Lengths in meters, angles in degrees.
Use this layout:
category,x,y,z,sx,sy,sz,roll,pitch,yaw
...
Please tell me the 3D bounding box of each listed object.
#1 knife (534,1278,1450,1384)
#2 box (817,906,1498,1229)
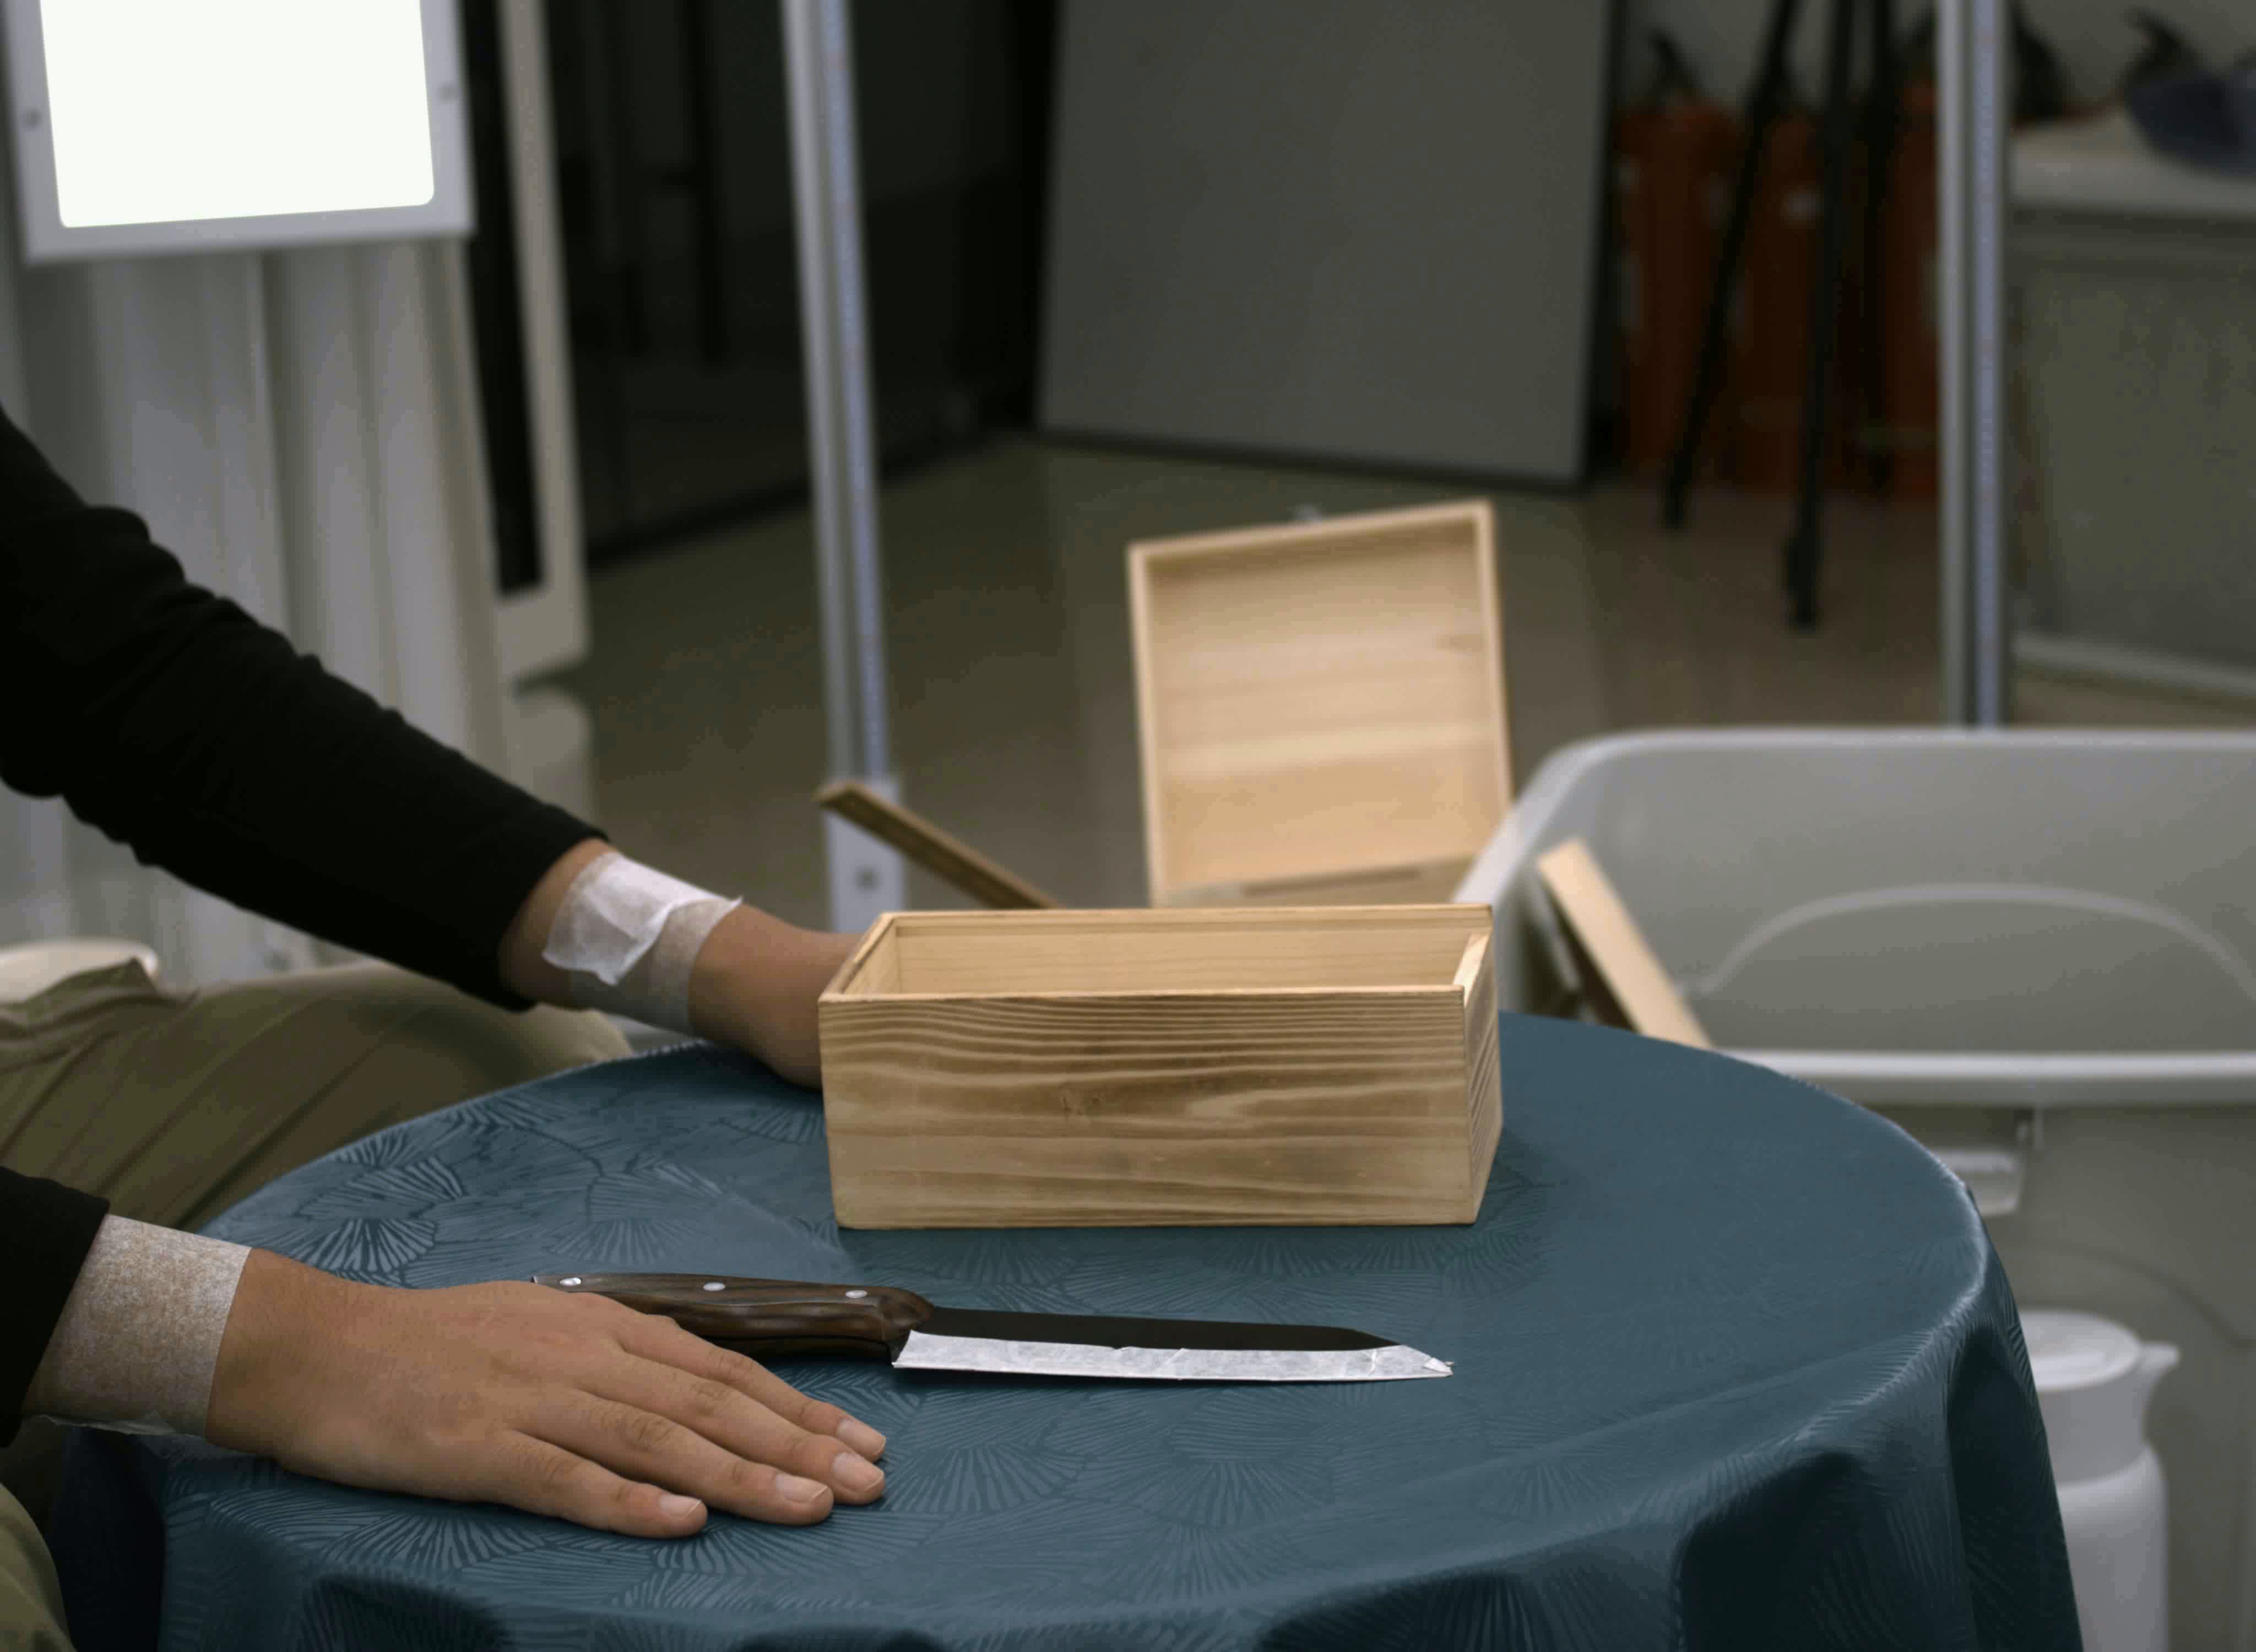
category,x,y,z,sx,sy,sz,roll,pitch,yaw
knife,-0.044,0.154,1.618,0.287,0.020,0.050,2,19,14
box,0.012,0.079,1.772,0.210,0.081,0.107,-1,13,11
